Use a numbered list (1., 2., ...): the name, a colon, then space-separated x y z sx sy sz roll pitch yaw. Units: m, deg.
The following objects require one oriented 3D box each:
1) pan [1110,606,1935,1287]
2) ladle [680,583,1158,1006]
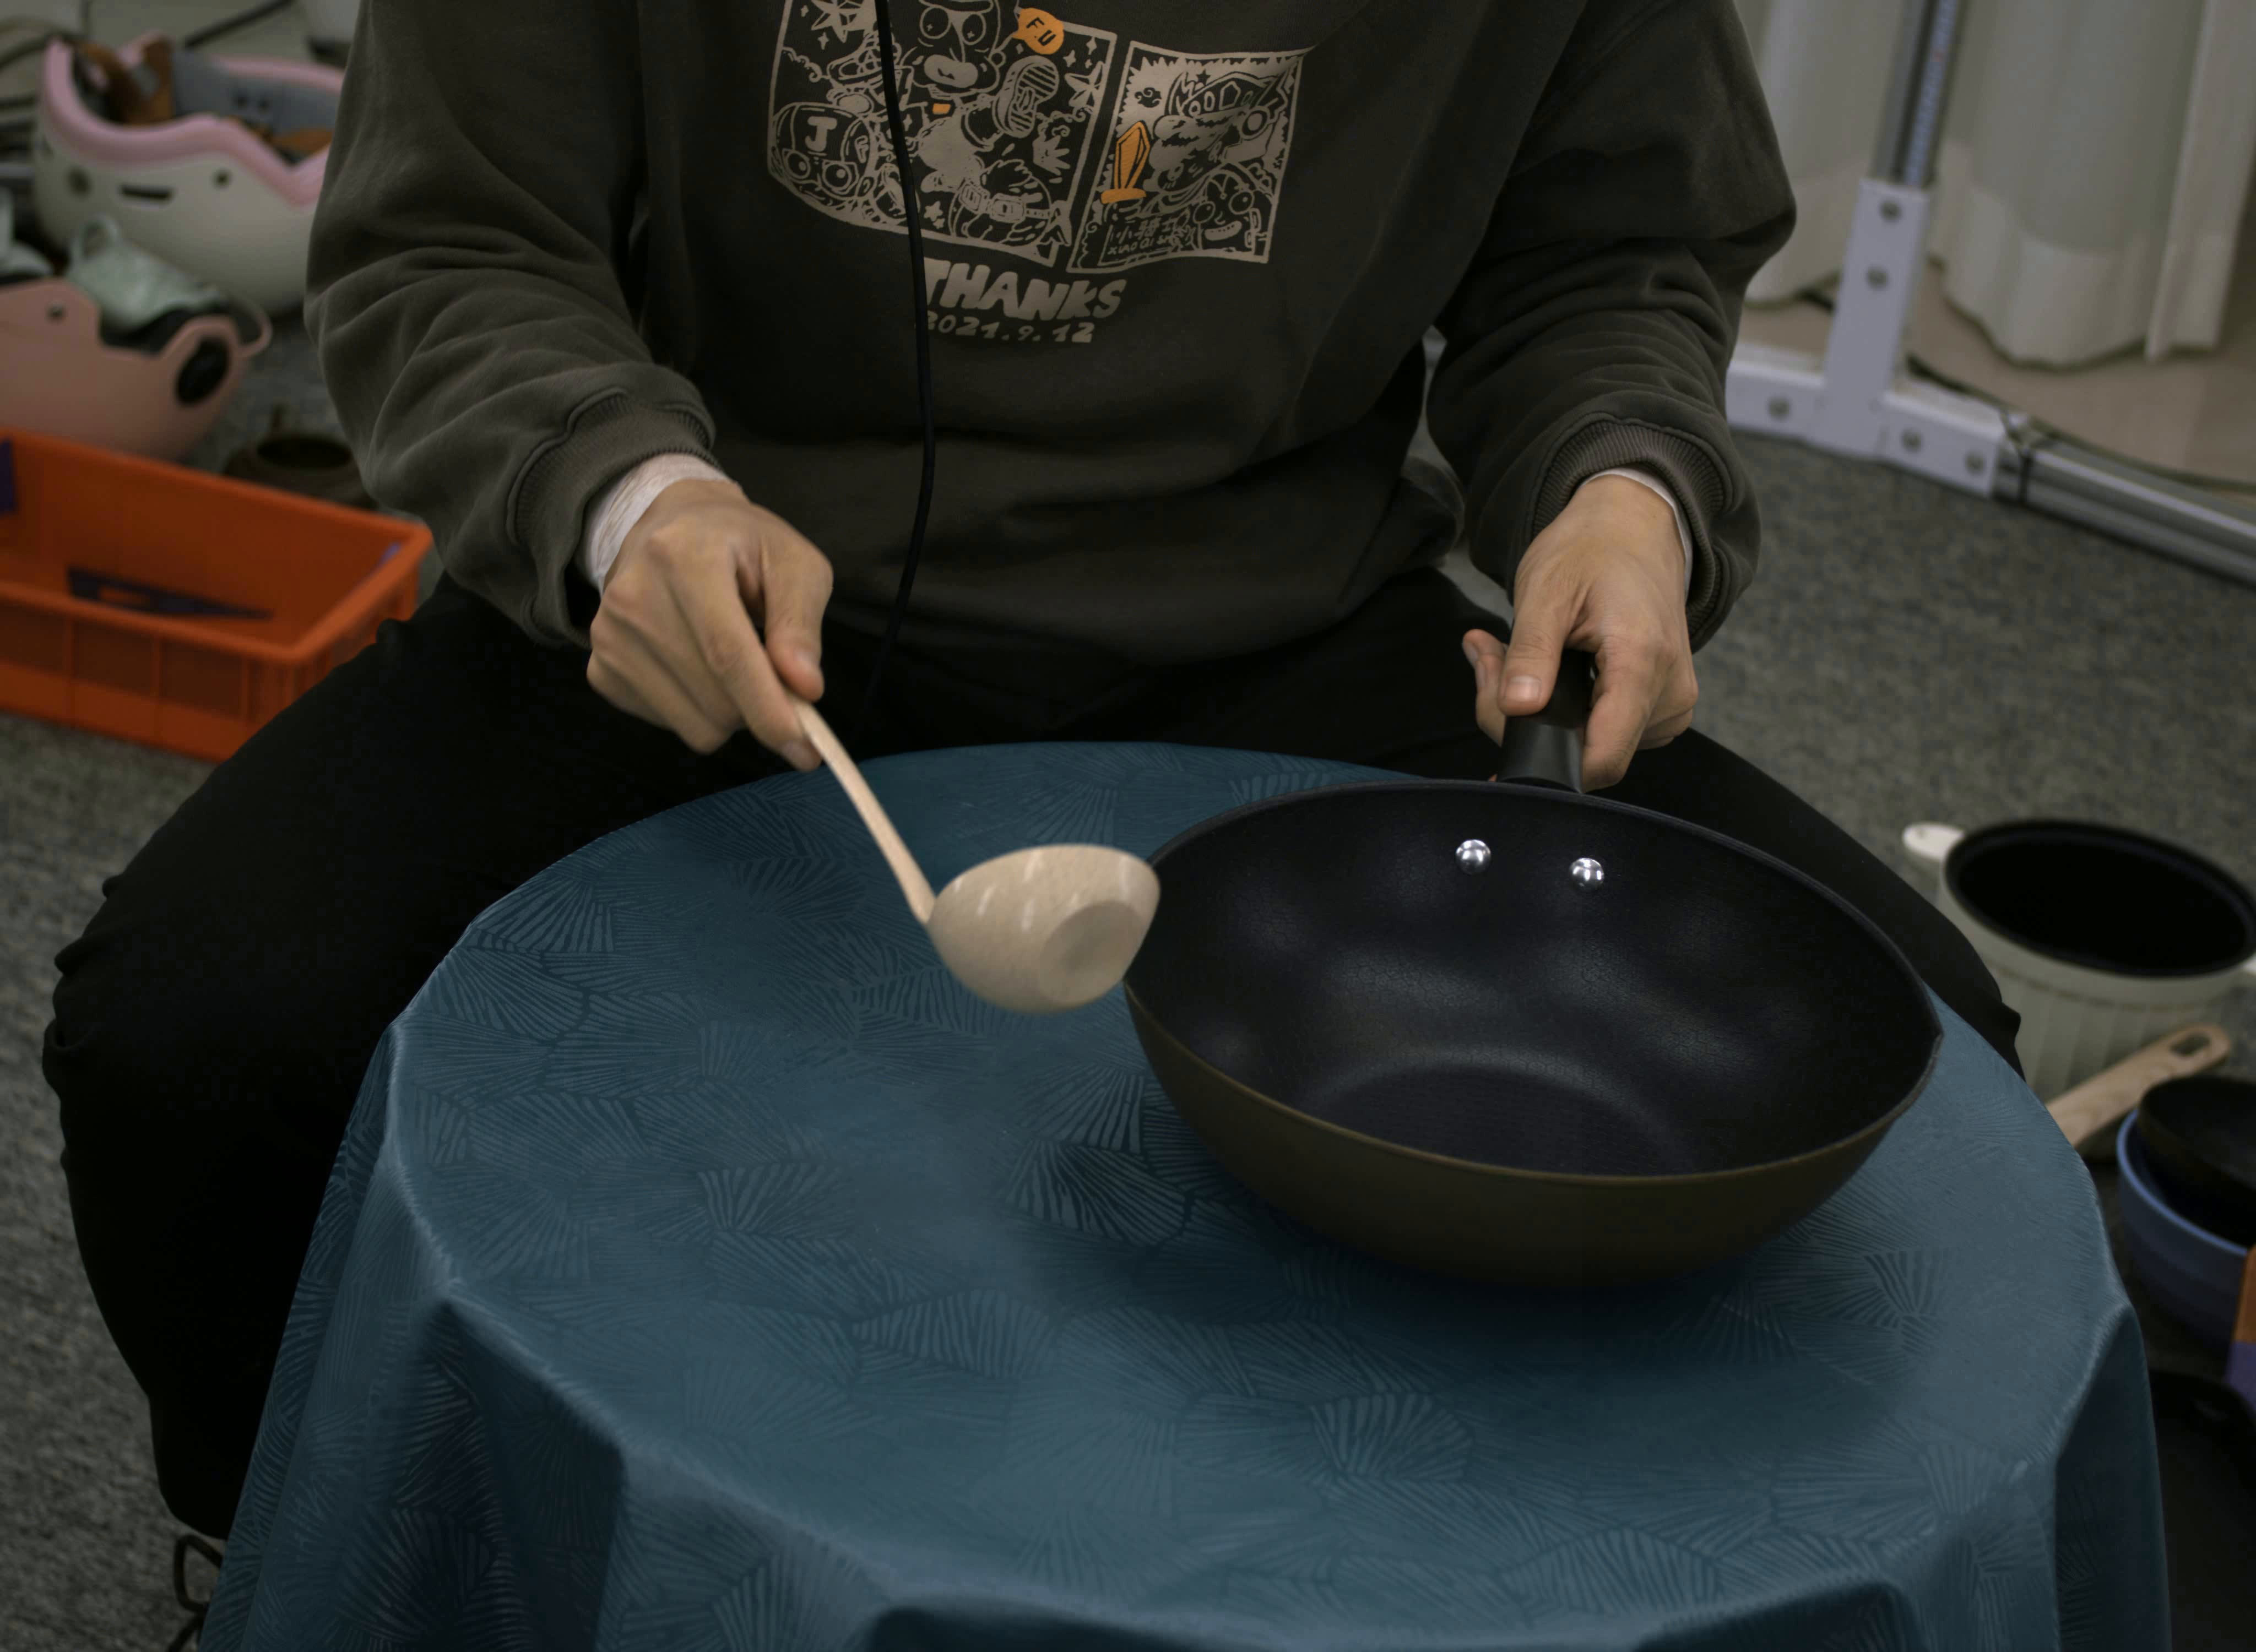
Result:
1. pan: 0.137 0.043 1.904 0.287 0.086 0.465 8 26 3
2. ladle: -0.073 -0.034 1.793 0.071 0.073 0.257 31 16 -47
